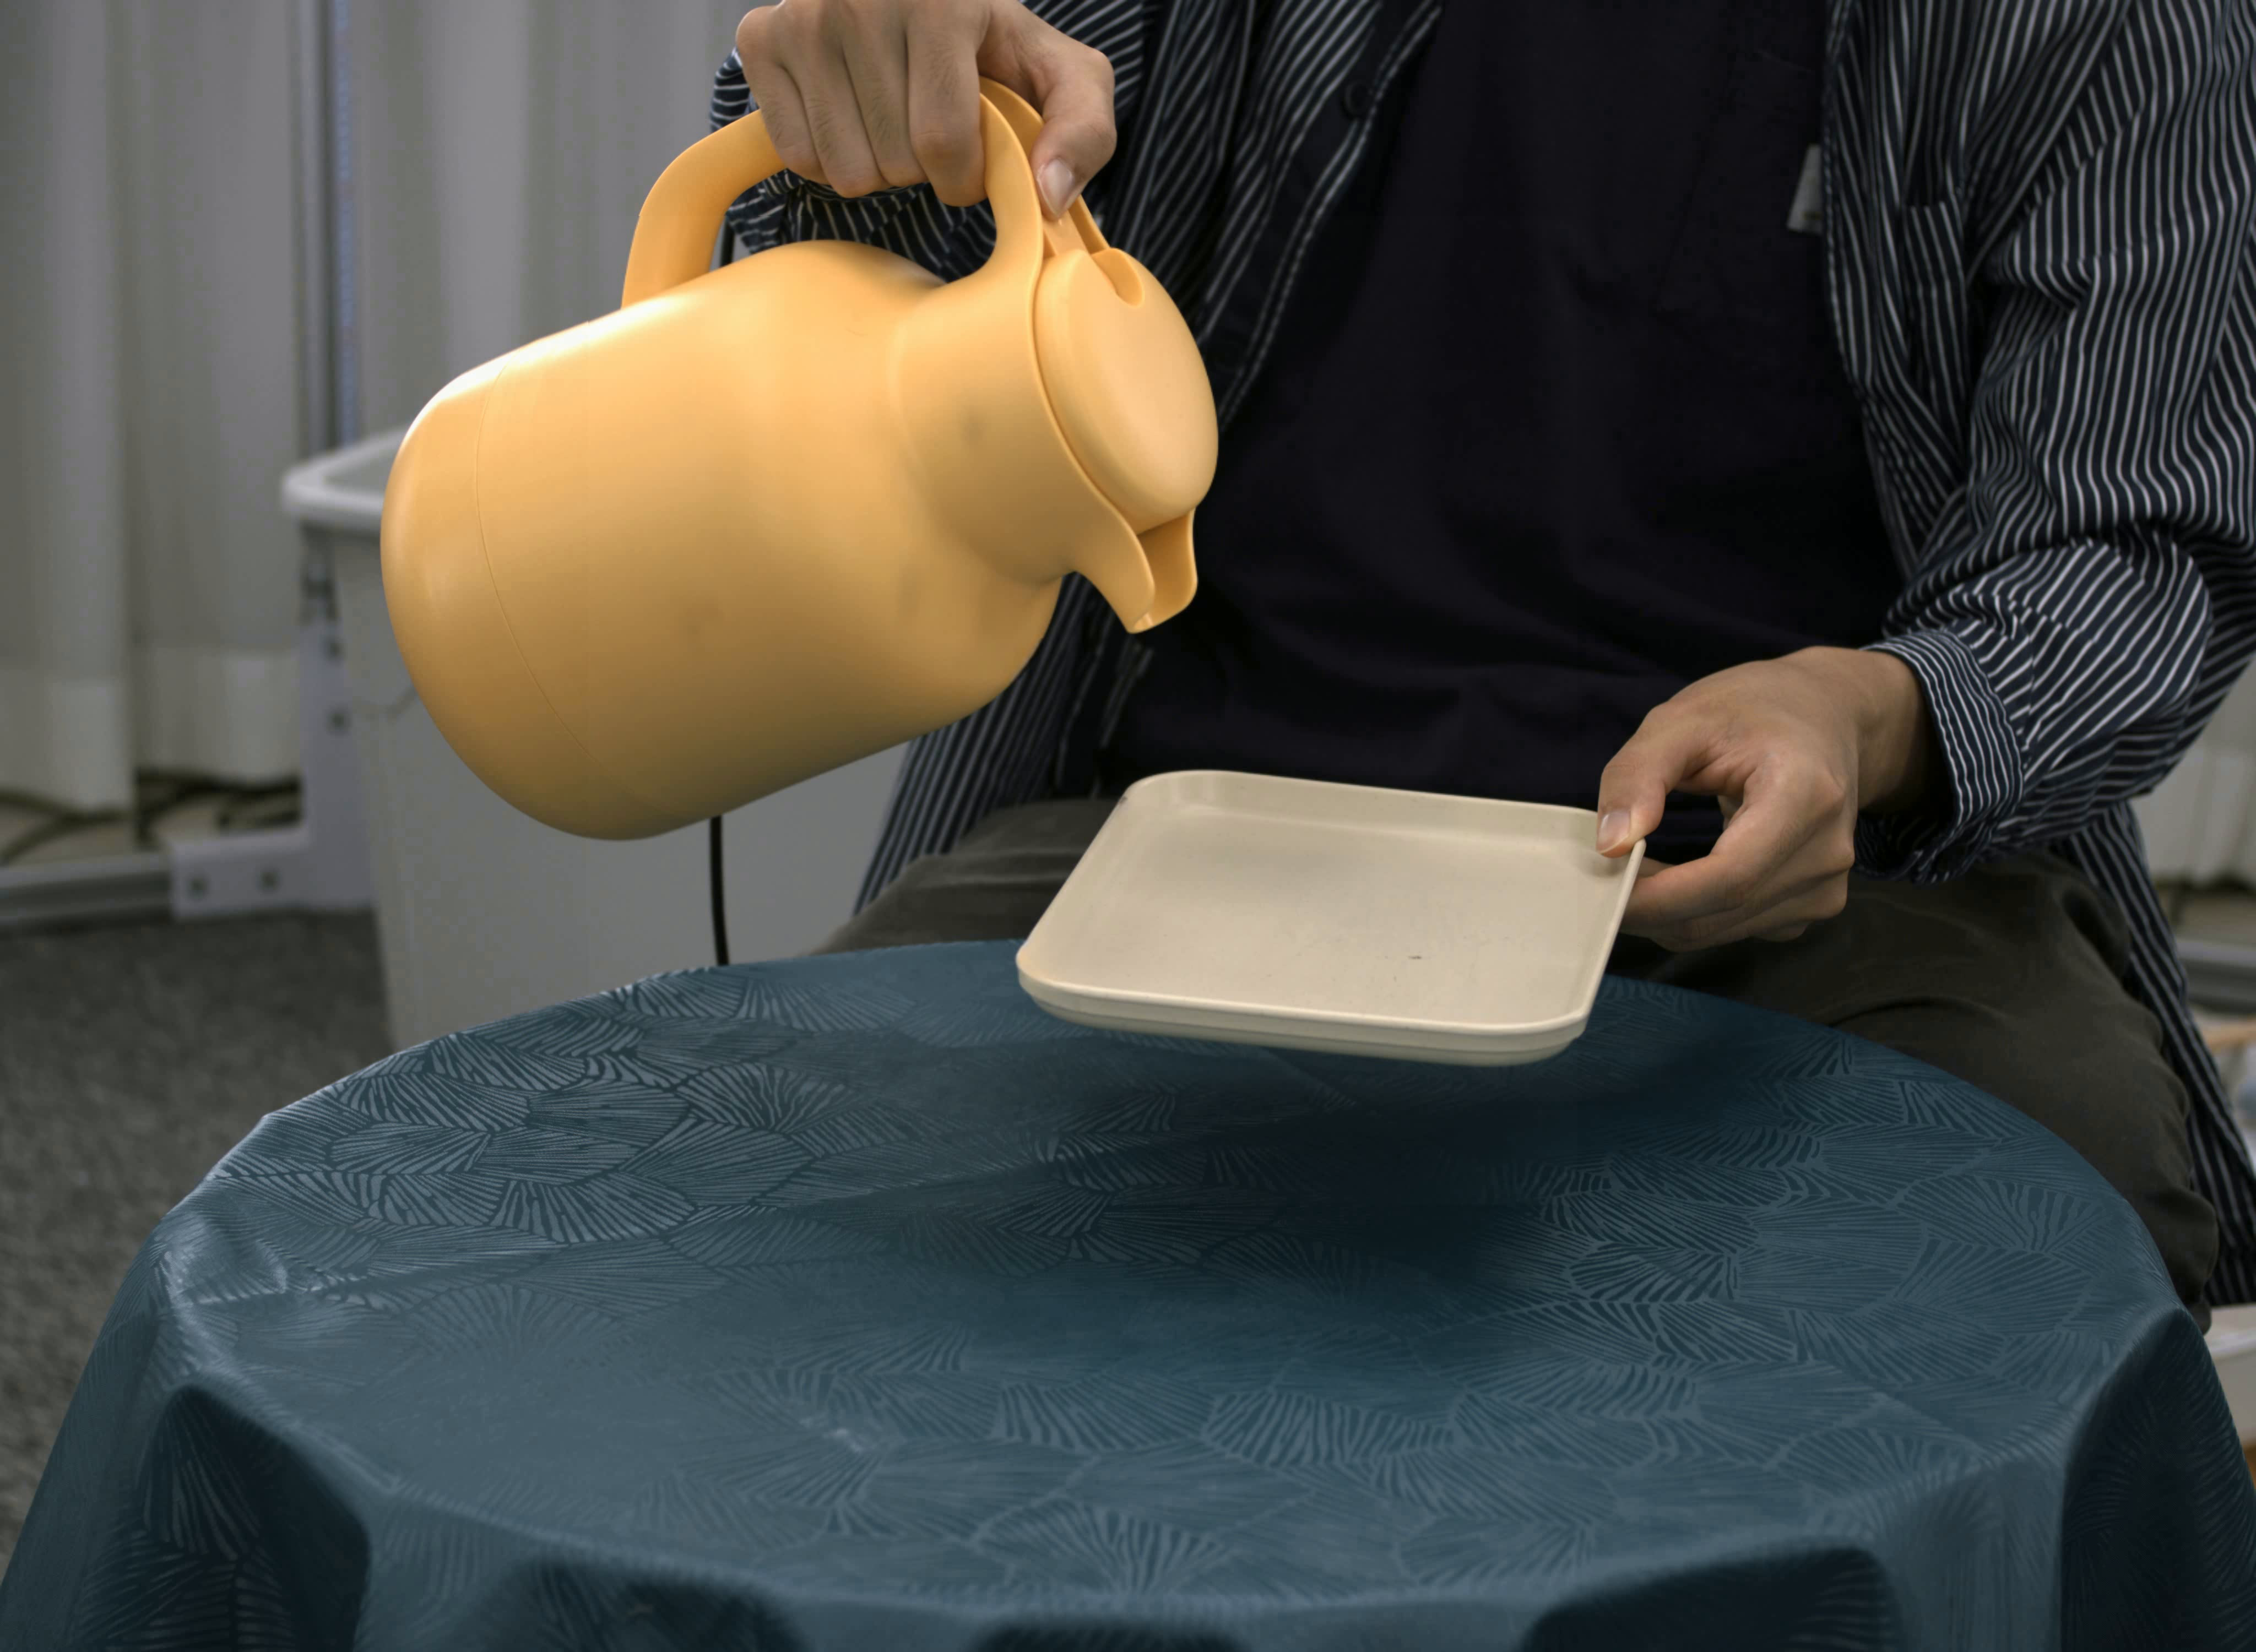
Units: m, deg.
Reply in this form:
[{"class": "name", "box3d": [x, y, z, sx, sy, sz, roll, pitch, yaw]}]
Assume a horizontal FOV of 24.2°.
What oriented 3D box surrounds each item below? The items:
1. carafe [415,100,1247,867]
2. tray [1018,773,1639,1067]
[{"class": "carafe", "box3d": [-0.094, -0.112, 1.670, 0.258, 0.203, 0.164, -19, -2, 27]}, {"class": "tray", "box3d": [0.066, 0.028, 1.623, 0.170, 0.017, 0.239, 7, 16, 9]}]
